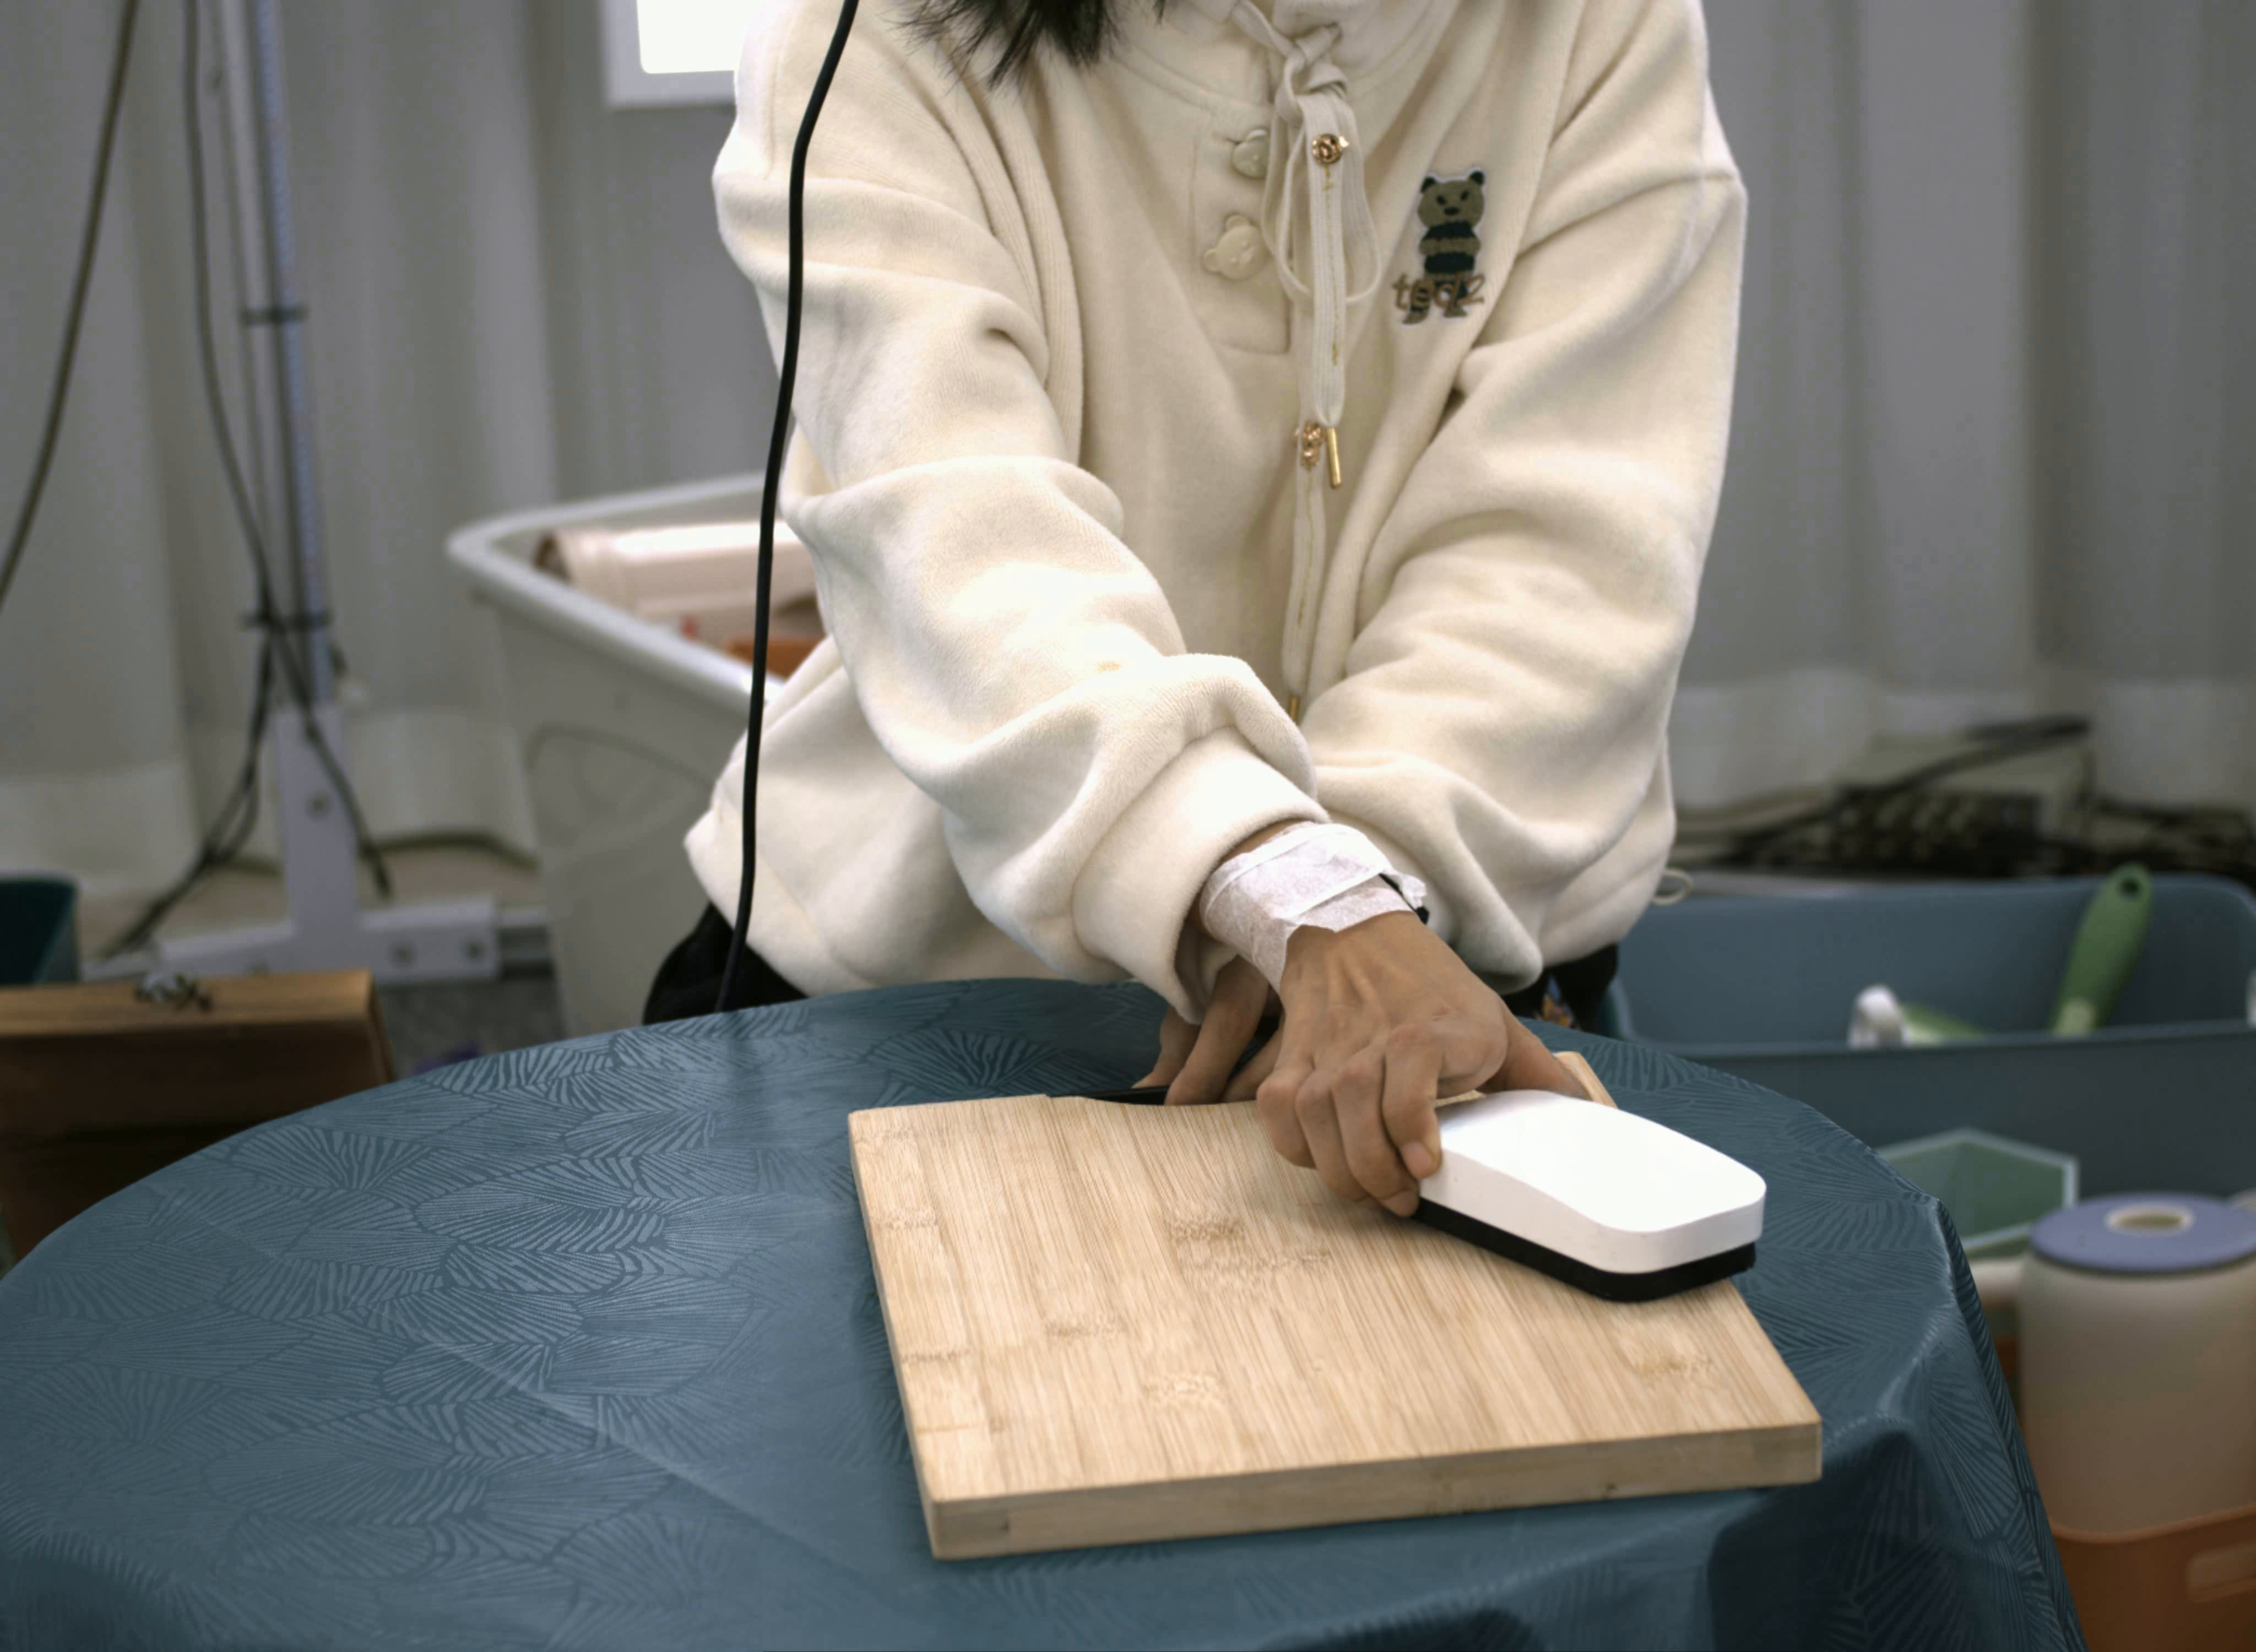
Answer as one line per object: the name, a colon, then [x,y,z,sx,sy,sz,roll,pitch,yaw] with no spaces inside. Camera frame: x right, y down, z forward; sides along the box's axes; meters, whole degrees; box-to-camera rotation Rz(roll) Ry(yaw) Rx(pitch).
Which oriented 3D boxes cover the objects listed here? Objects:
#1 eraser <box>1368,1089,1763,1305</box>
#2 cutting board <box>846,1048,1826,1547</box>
eraser: [0.128,0.104,1.600,0.063,0.034,0.132,-12,18,-30]
cutting board: [0.048,0.133,1.607,0.250,0.023,0.351,-4,15,-7]
